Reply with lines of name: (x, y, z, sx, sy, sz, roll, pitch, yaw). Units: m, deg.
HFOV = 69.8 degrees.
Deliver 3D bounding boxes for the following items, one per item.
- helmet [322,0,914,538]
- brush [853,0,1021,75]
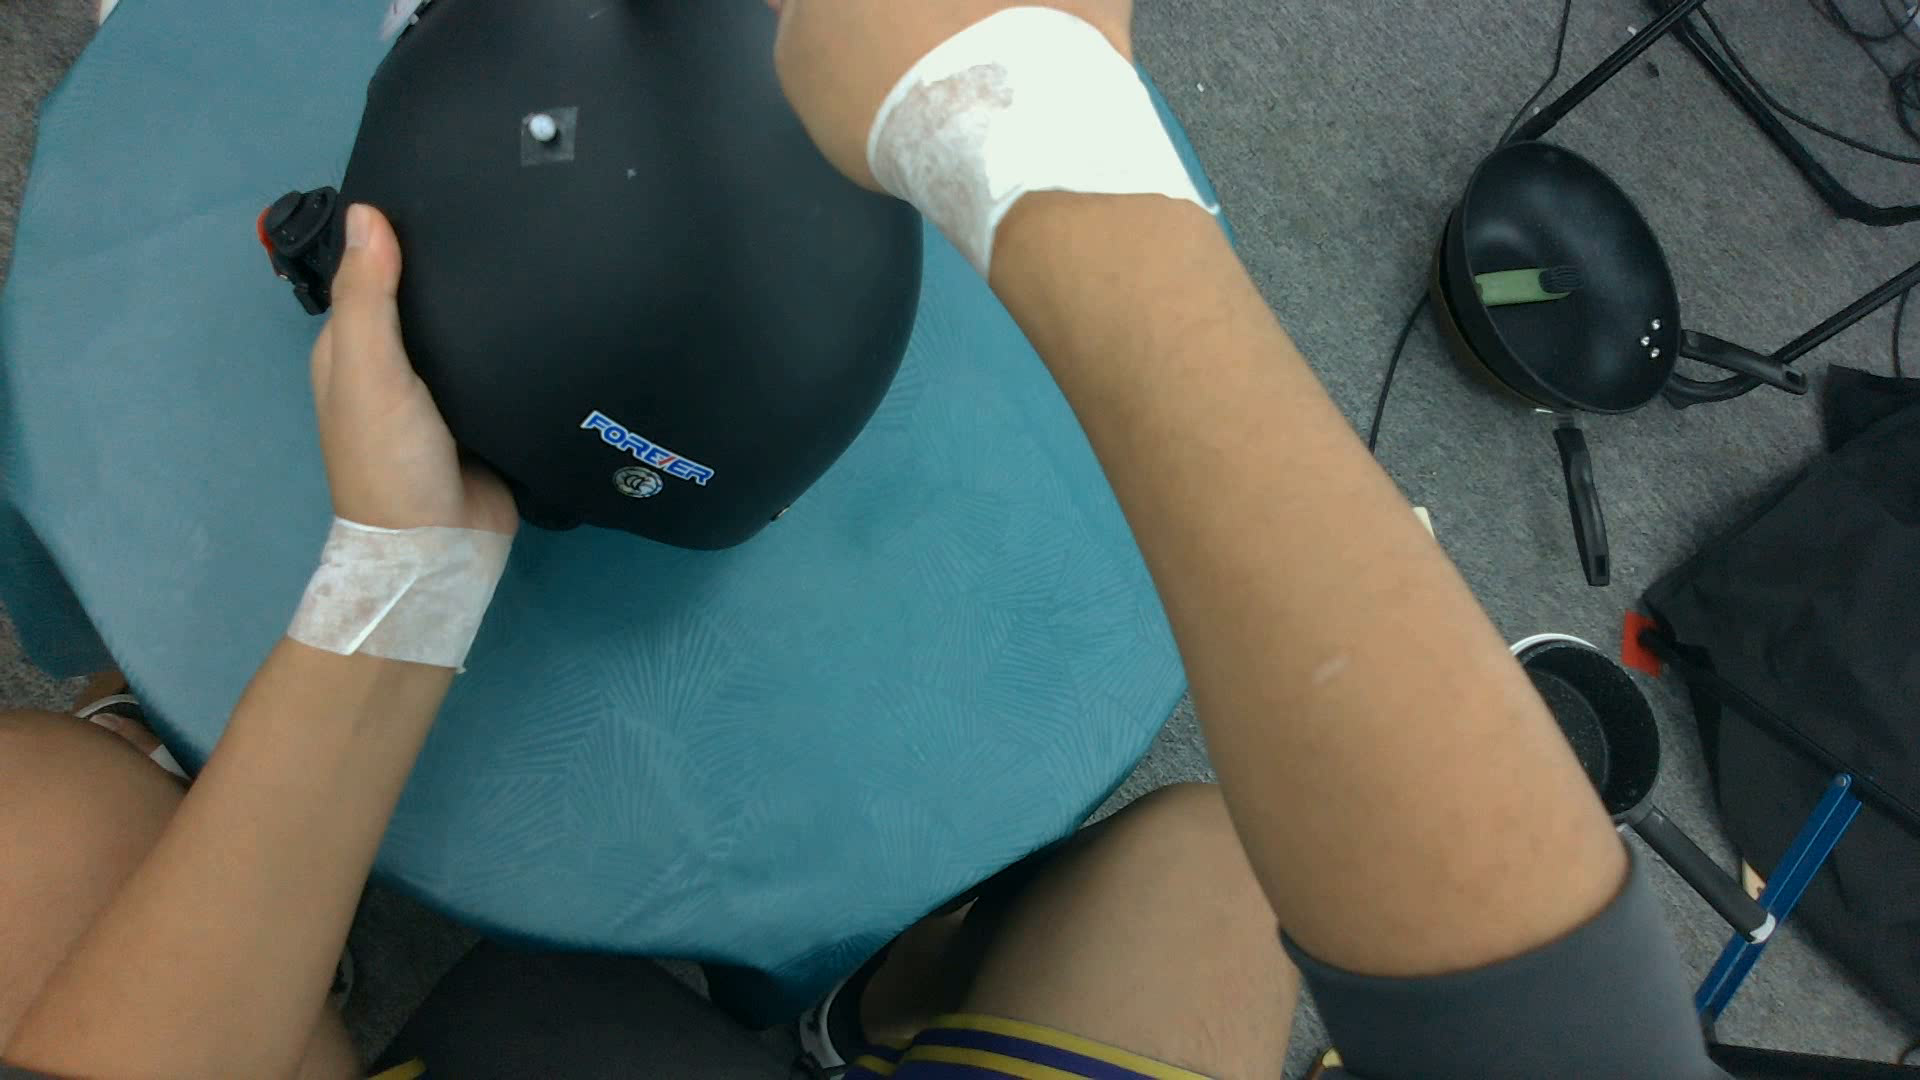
helmet: (-0.112, -0.145, 0.550, 0.230, 0.166, 0.274, 33, 43, -36)
brush: (-0.066, -0.177, 0.424, 0.034, 0.050, 0.244, -21, 50, -34)
